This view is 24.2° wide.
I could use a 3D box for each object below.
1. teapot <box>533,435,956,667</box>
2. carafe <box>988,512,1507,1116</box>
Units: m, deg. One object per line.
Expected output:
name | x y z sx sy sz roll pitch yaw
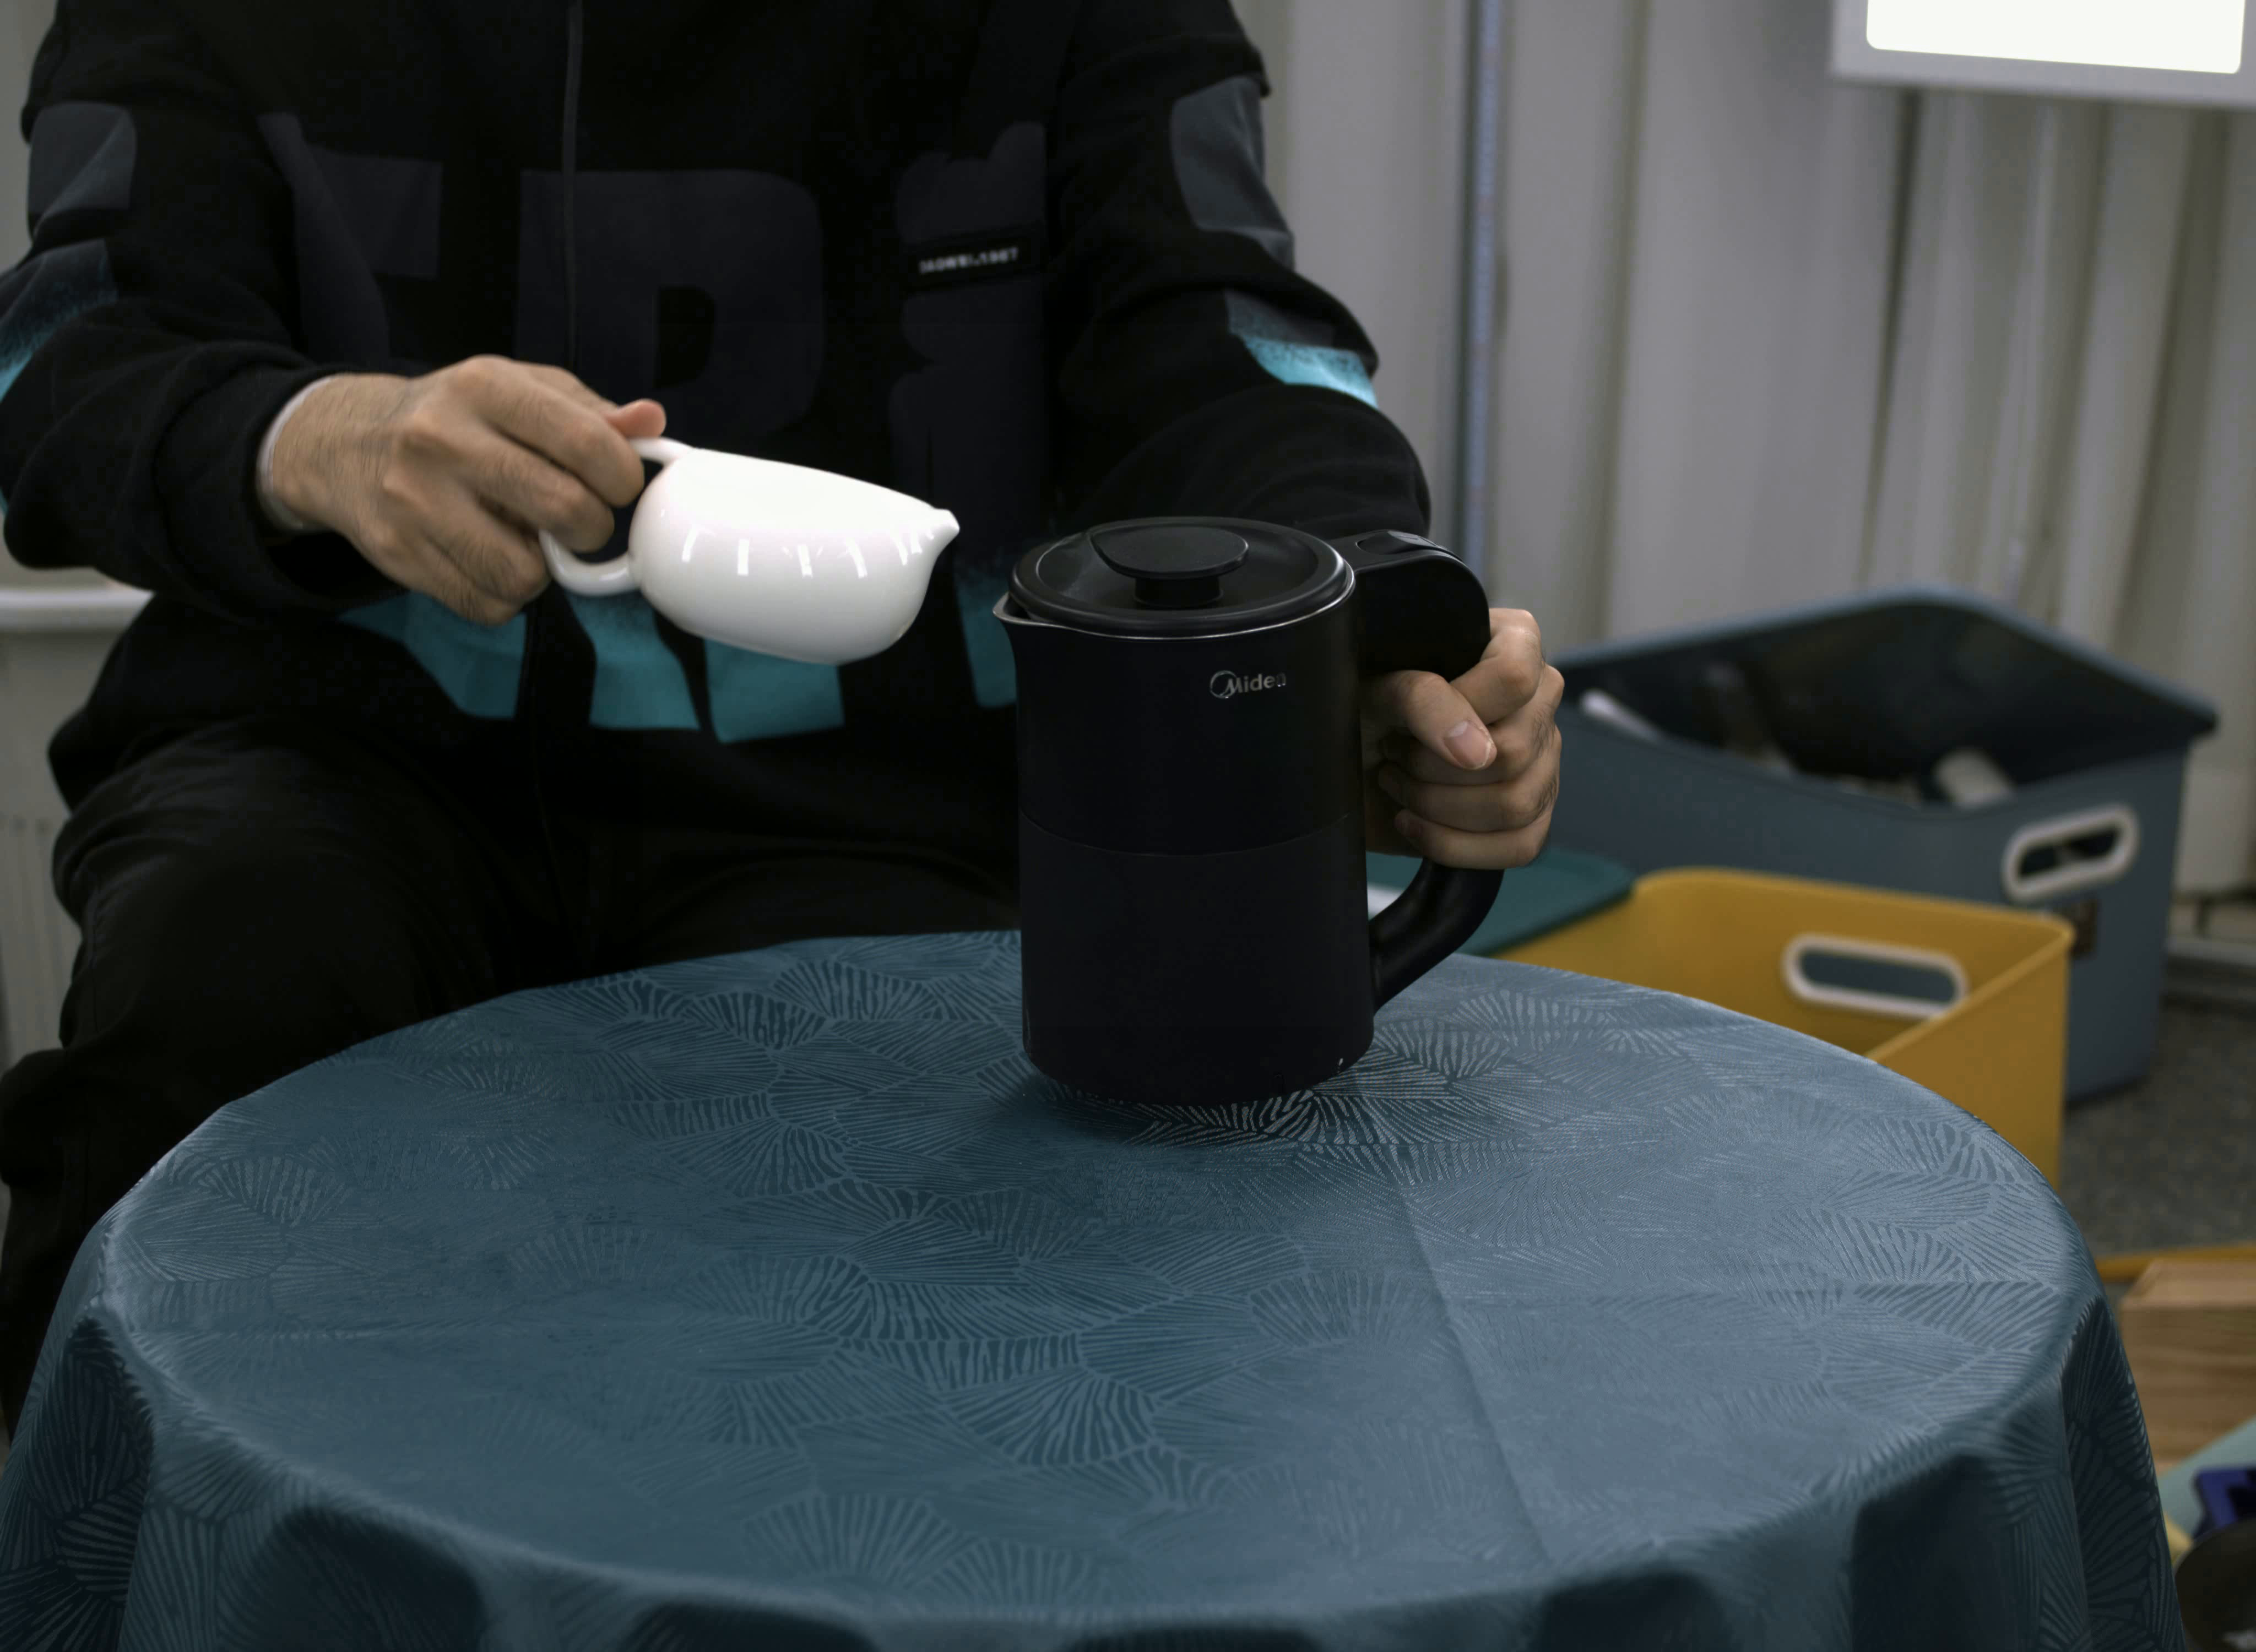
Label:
teapot | -0.119 -0.084 1.611 0.127 0.057 0.093 12 10 -5
carafe | 0.039 -0.014 1.682 0.172 0.175 0.113 -14 23 -24
